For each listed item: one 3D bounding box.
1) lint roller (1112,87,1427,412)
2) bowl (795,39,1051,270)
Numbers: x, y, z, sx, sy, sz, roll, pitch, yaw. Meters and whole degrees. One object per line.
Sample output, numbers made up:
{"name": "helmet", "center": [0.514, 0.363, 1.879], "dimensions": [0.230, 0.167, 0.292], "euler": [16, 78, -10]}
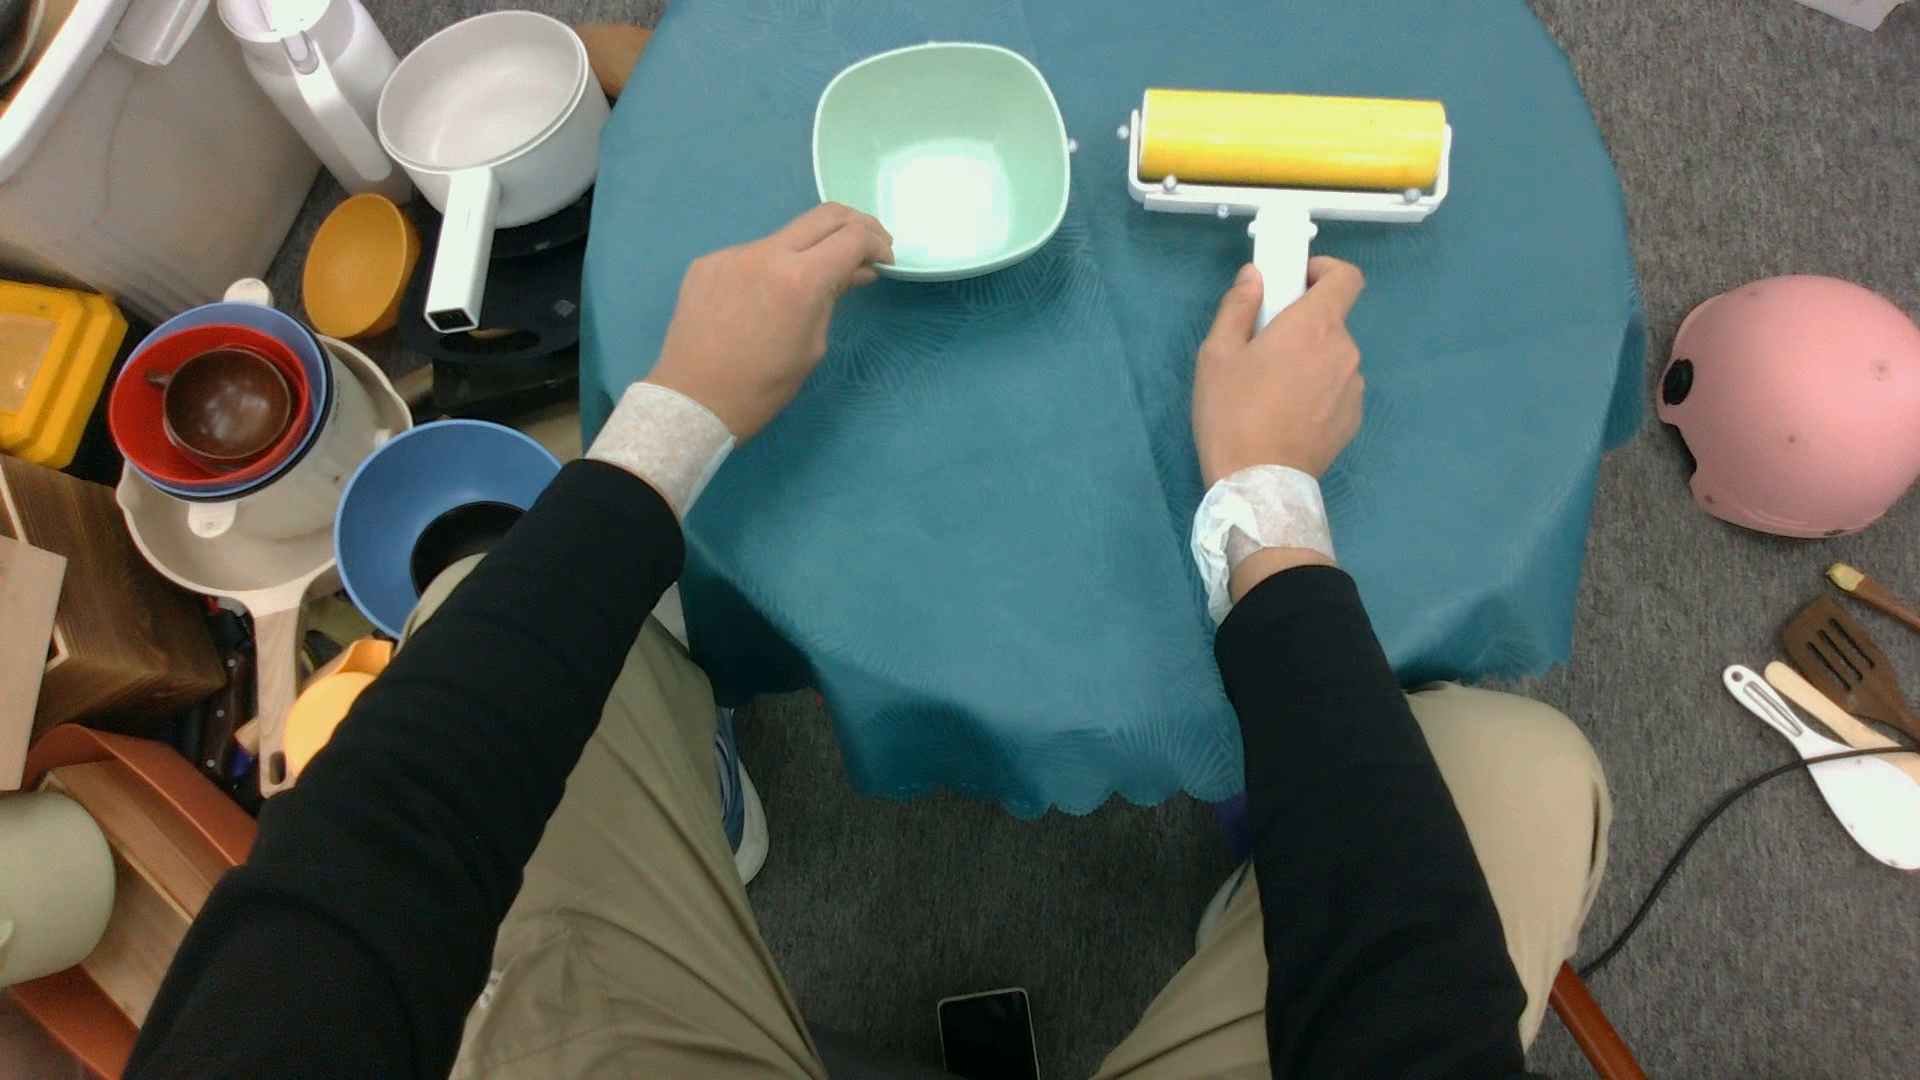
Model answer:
{"name": "lint roller", "center": [0.168, -0.165, 0.749], "dimensions": [0.174, 0.051, 0.193], "euler": [2, 64, 6]}
{"name": "bowl", "center": [-0.021, -0.206, 0.775], "dimensions": [0.151, 0.058, 0.152], "euler": [0, 72, -1]}
